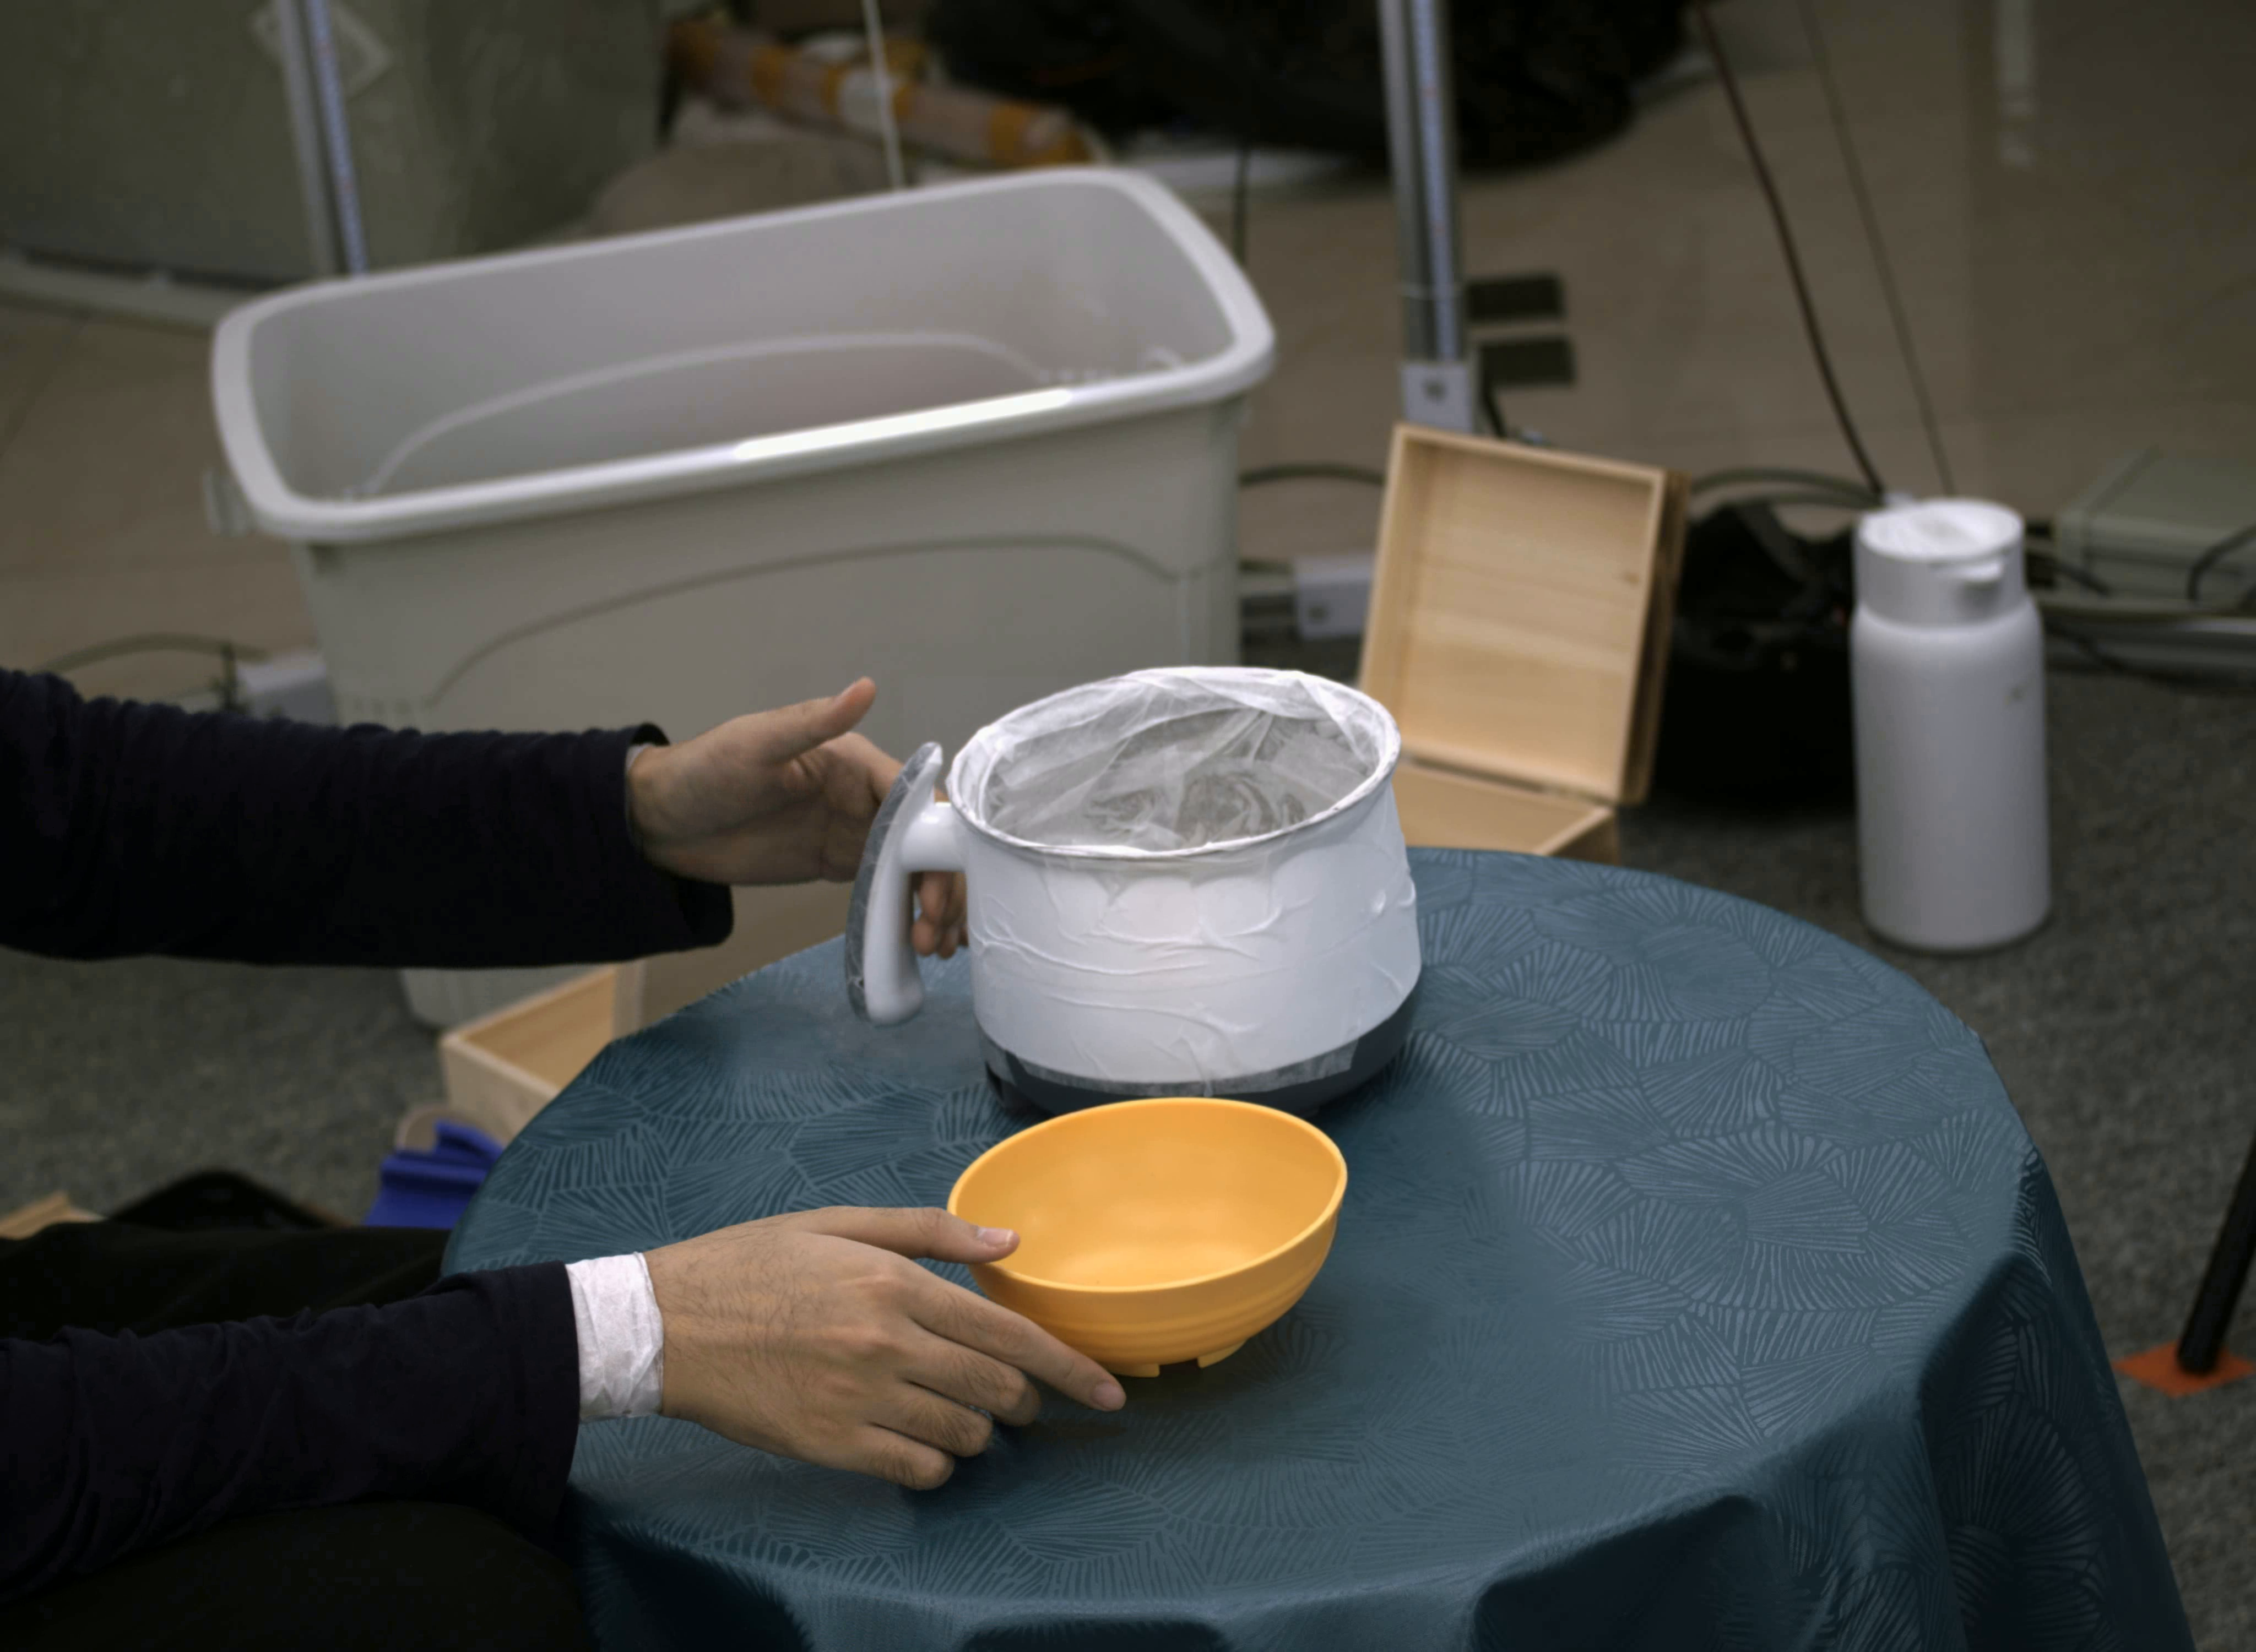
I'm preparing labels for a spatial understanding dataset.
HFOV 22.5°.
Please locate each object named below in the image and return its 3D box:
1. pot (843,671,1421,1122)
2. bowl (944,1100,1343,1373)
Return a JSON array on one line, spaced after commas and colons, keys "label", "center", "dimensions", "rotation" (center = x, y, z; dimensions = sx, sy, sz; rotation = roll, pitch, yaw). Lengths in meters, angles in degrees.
[{"label": "pot", "center": [-0.002, 0.030, 2.220], "dimensions": [0.233, 0.138, 0.176], "rotation": [1, 24, 14]}, {"label": "bowl", "center": [0.008, 0.155, 2.039], "dimensions": [0.145, 0.061, 0.143], "rotation": [-4, 24, 2]}]
